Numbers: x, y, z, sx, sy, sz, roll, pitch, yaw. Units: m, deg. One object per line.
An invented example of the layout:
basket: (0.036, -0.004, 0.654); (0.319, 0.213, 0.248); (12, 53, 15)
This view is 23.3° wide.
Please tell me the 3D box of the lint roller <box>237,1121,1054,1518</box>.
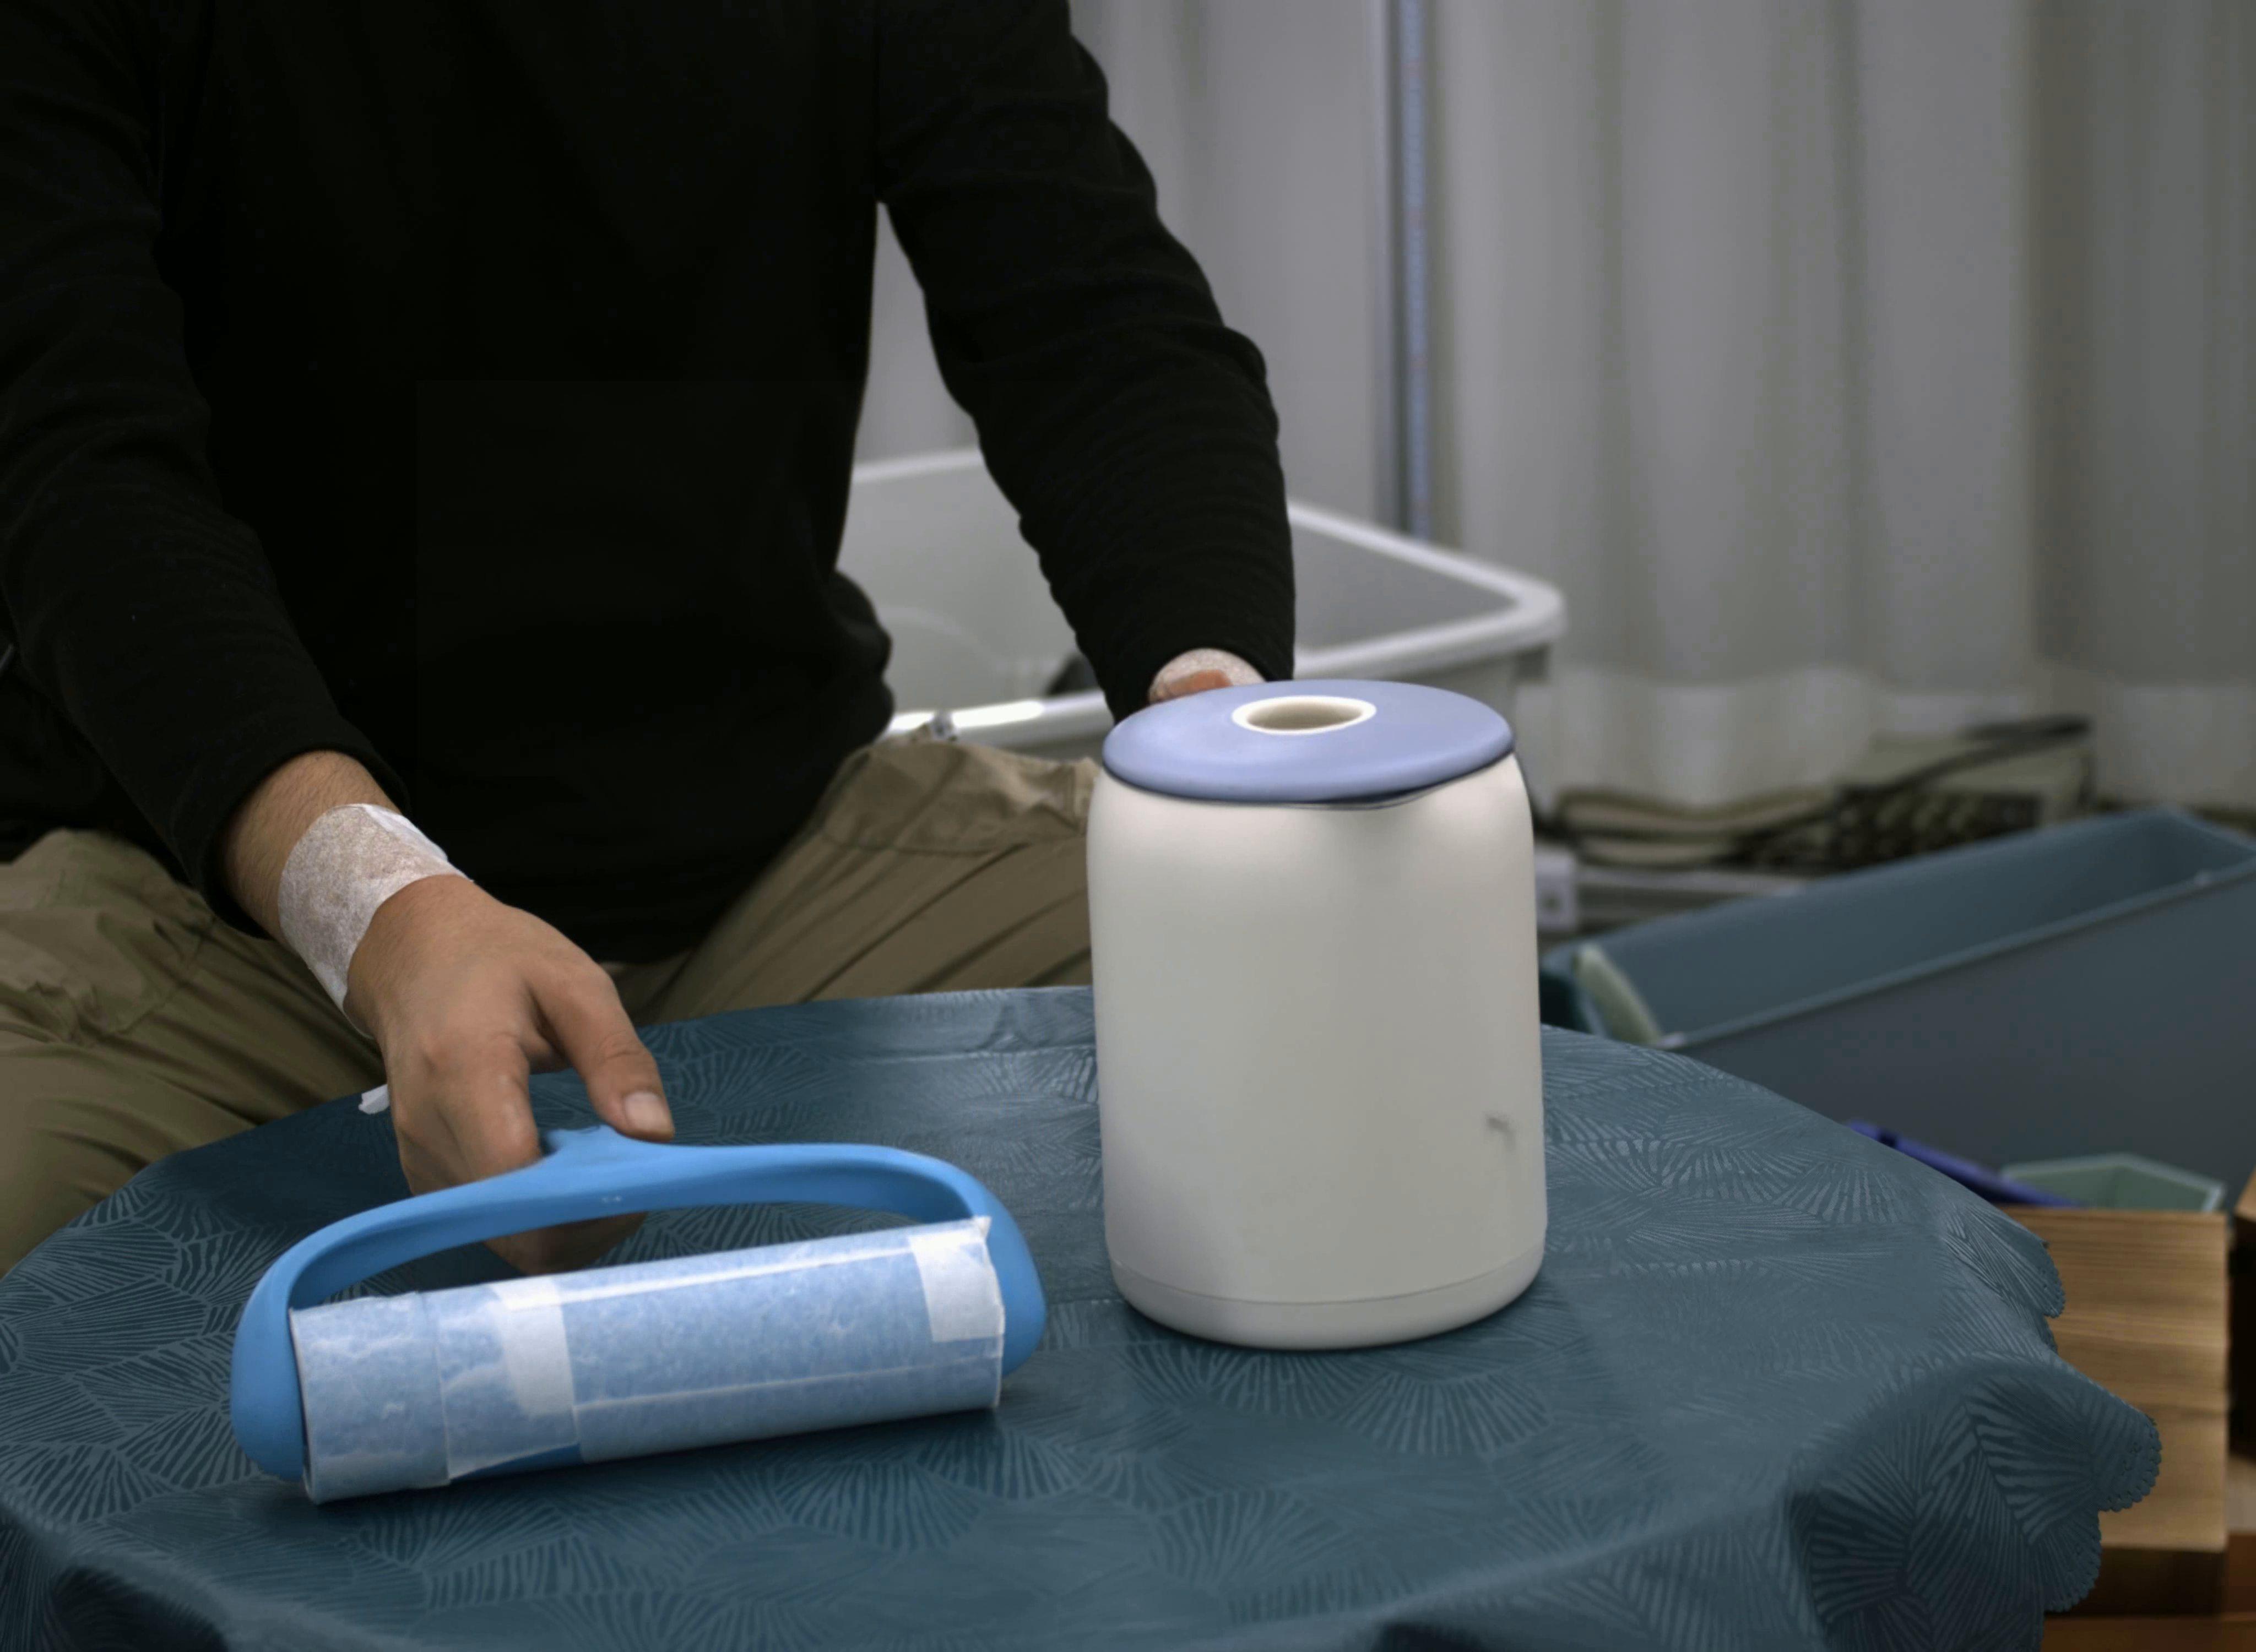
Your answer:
lint roller: (-0.149, 0.121, 1.565); (0.228, 0.067, 0.182); (-10, 30, -13)

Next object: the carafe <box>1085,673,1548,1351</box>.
carafe: (0.048, 0.048, 1.624); (0.131, 0.182, 0.192); (-6, 12, -17)
